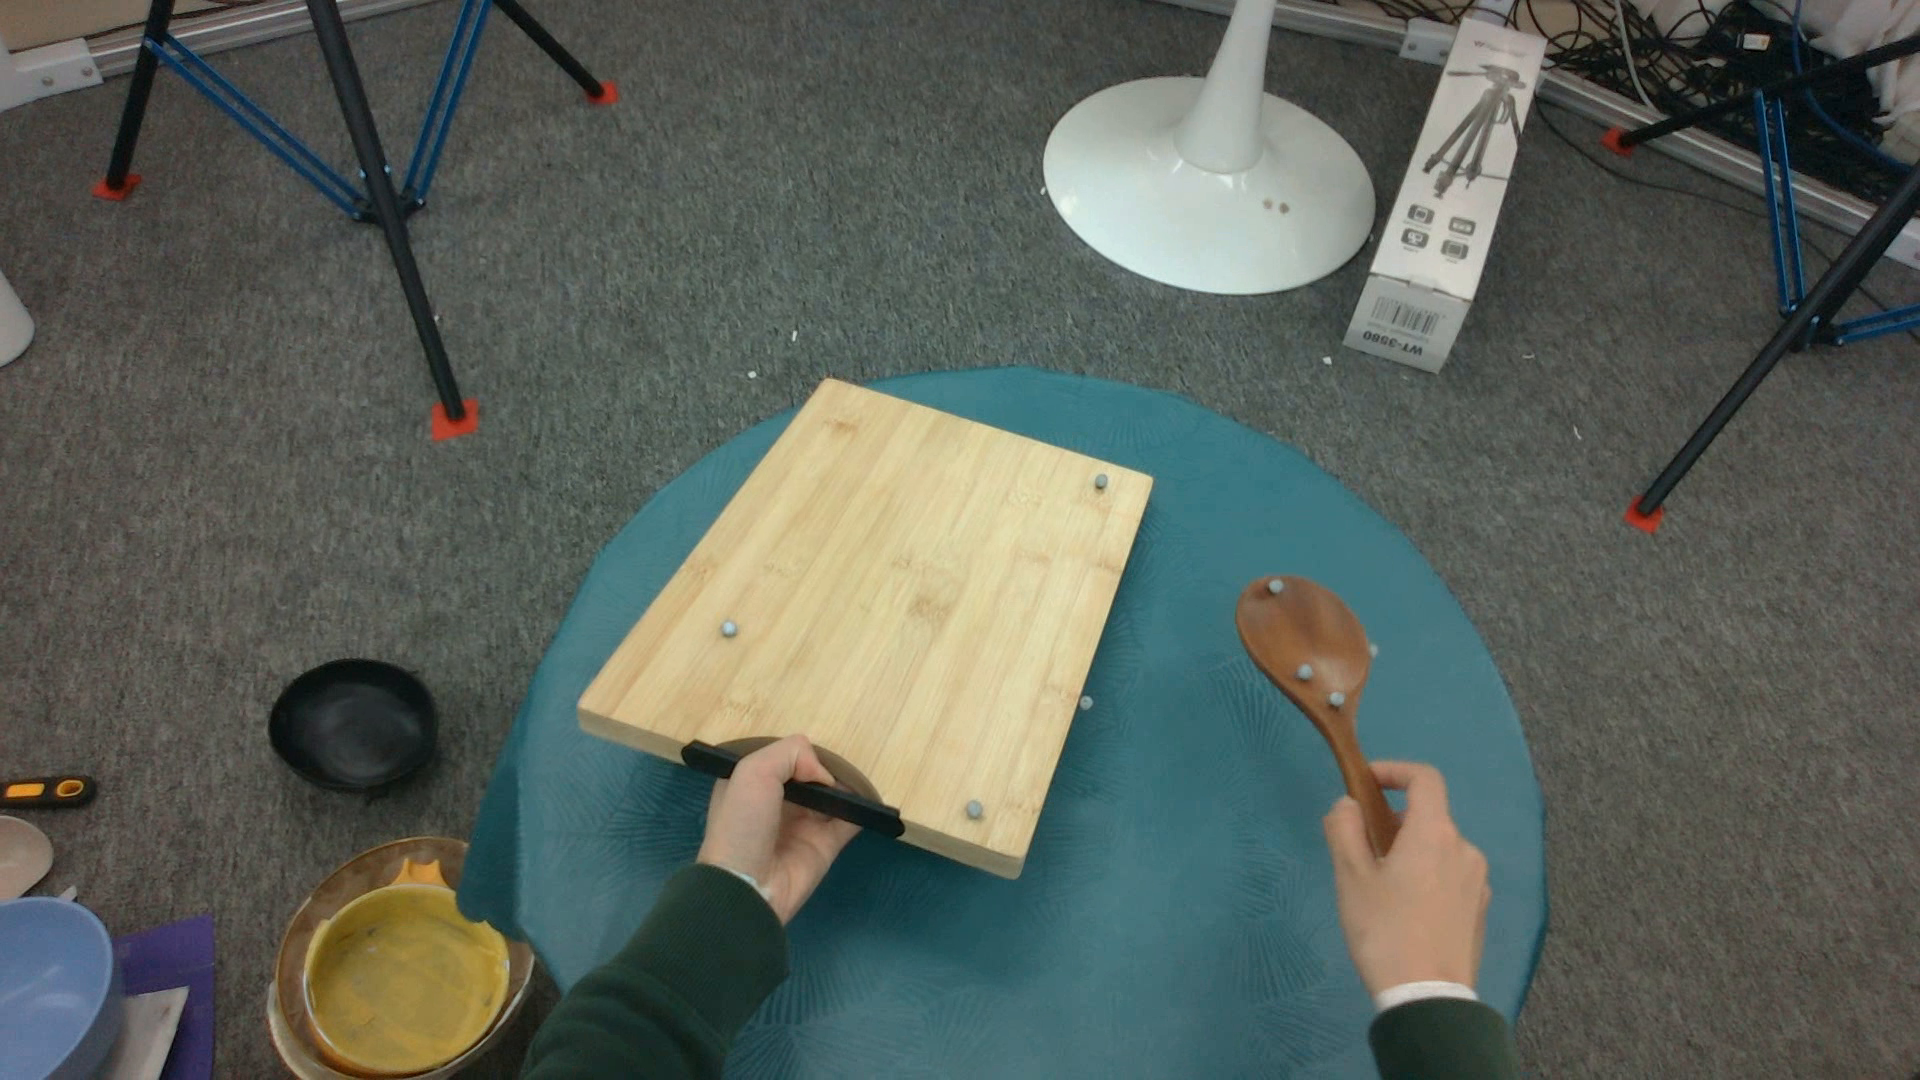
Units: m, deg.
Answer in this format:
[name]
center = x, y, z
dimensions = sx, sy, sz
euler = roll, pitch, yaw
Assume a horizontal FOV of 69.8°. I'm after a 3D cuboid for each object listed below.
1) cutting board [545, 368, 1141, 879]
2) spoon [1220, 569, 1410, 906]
[cutting board]
center = -0.044, 0.024, 0.810
dimensions = 0.250, 0.023, 0.350
euler = 17, 40, 7
[spoon]
center = 0.188, 0.096, 0.724
dimensions = 0.075, 0.017, 0.217
euler = 5, 42, -14
